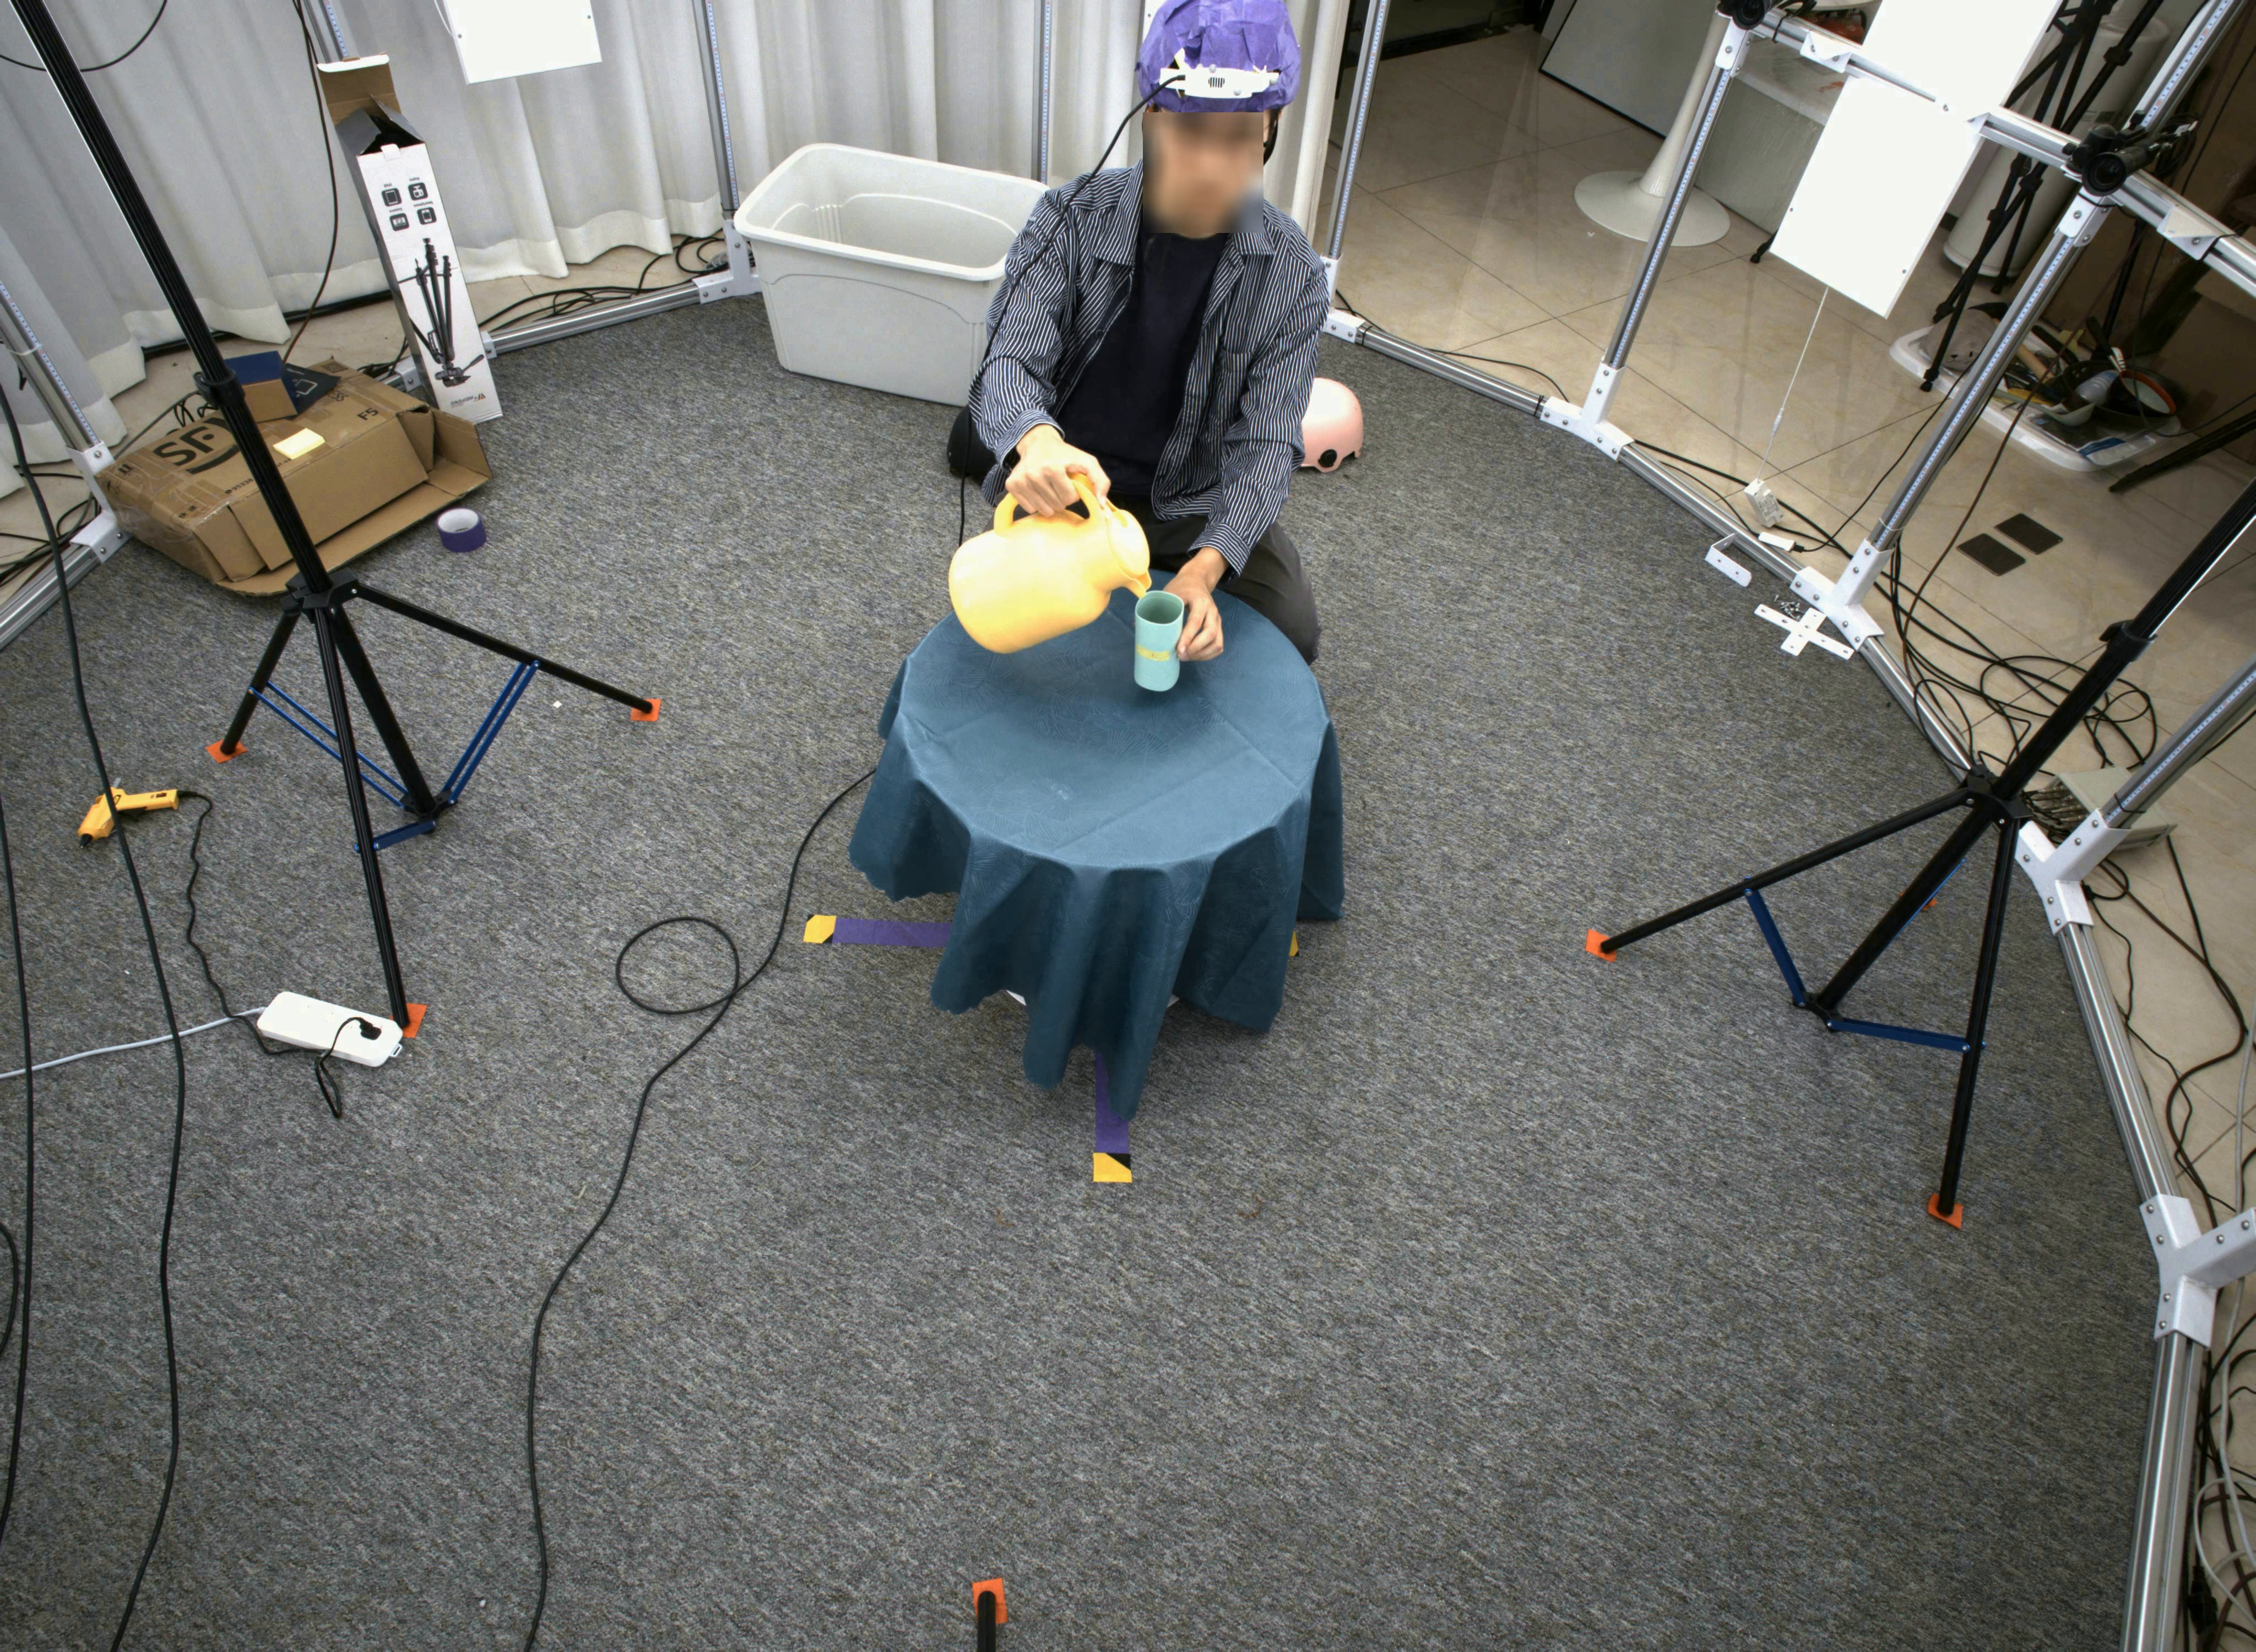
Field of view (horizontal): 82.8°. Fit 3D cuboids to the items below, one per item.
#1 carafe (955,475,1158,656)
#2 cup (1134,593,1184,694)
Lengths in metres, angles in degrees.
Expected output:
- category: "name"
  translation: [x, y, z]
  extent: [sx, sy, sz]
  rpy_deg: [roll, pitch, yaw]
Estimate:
- category: "carafe"
  translation: [-0.098, -0.347, 1.696]
  extent: [0.260, 0.198, 0.167]
  rpy_deg: [-16, 31, 28]
- category: "cup"
  translation: [0.041, -0.249, 1.751]
  extent: [0.066, 0.129, 0.068]
  rpy_deg: [1, 52, -1]
